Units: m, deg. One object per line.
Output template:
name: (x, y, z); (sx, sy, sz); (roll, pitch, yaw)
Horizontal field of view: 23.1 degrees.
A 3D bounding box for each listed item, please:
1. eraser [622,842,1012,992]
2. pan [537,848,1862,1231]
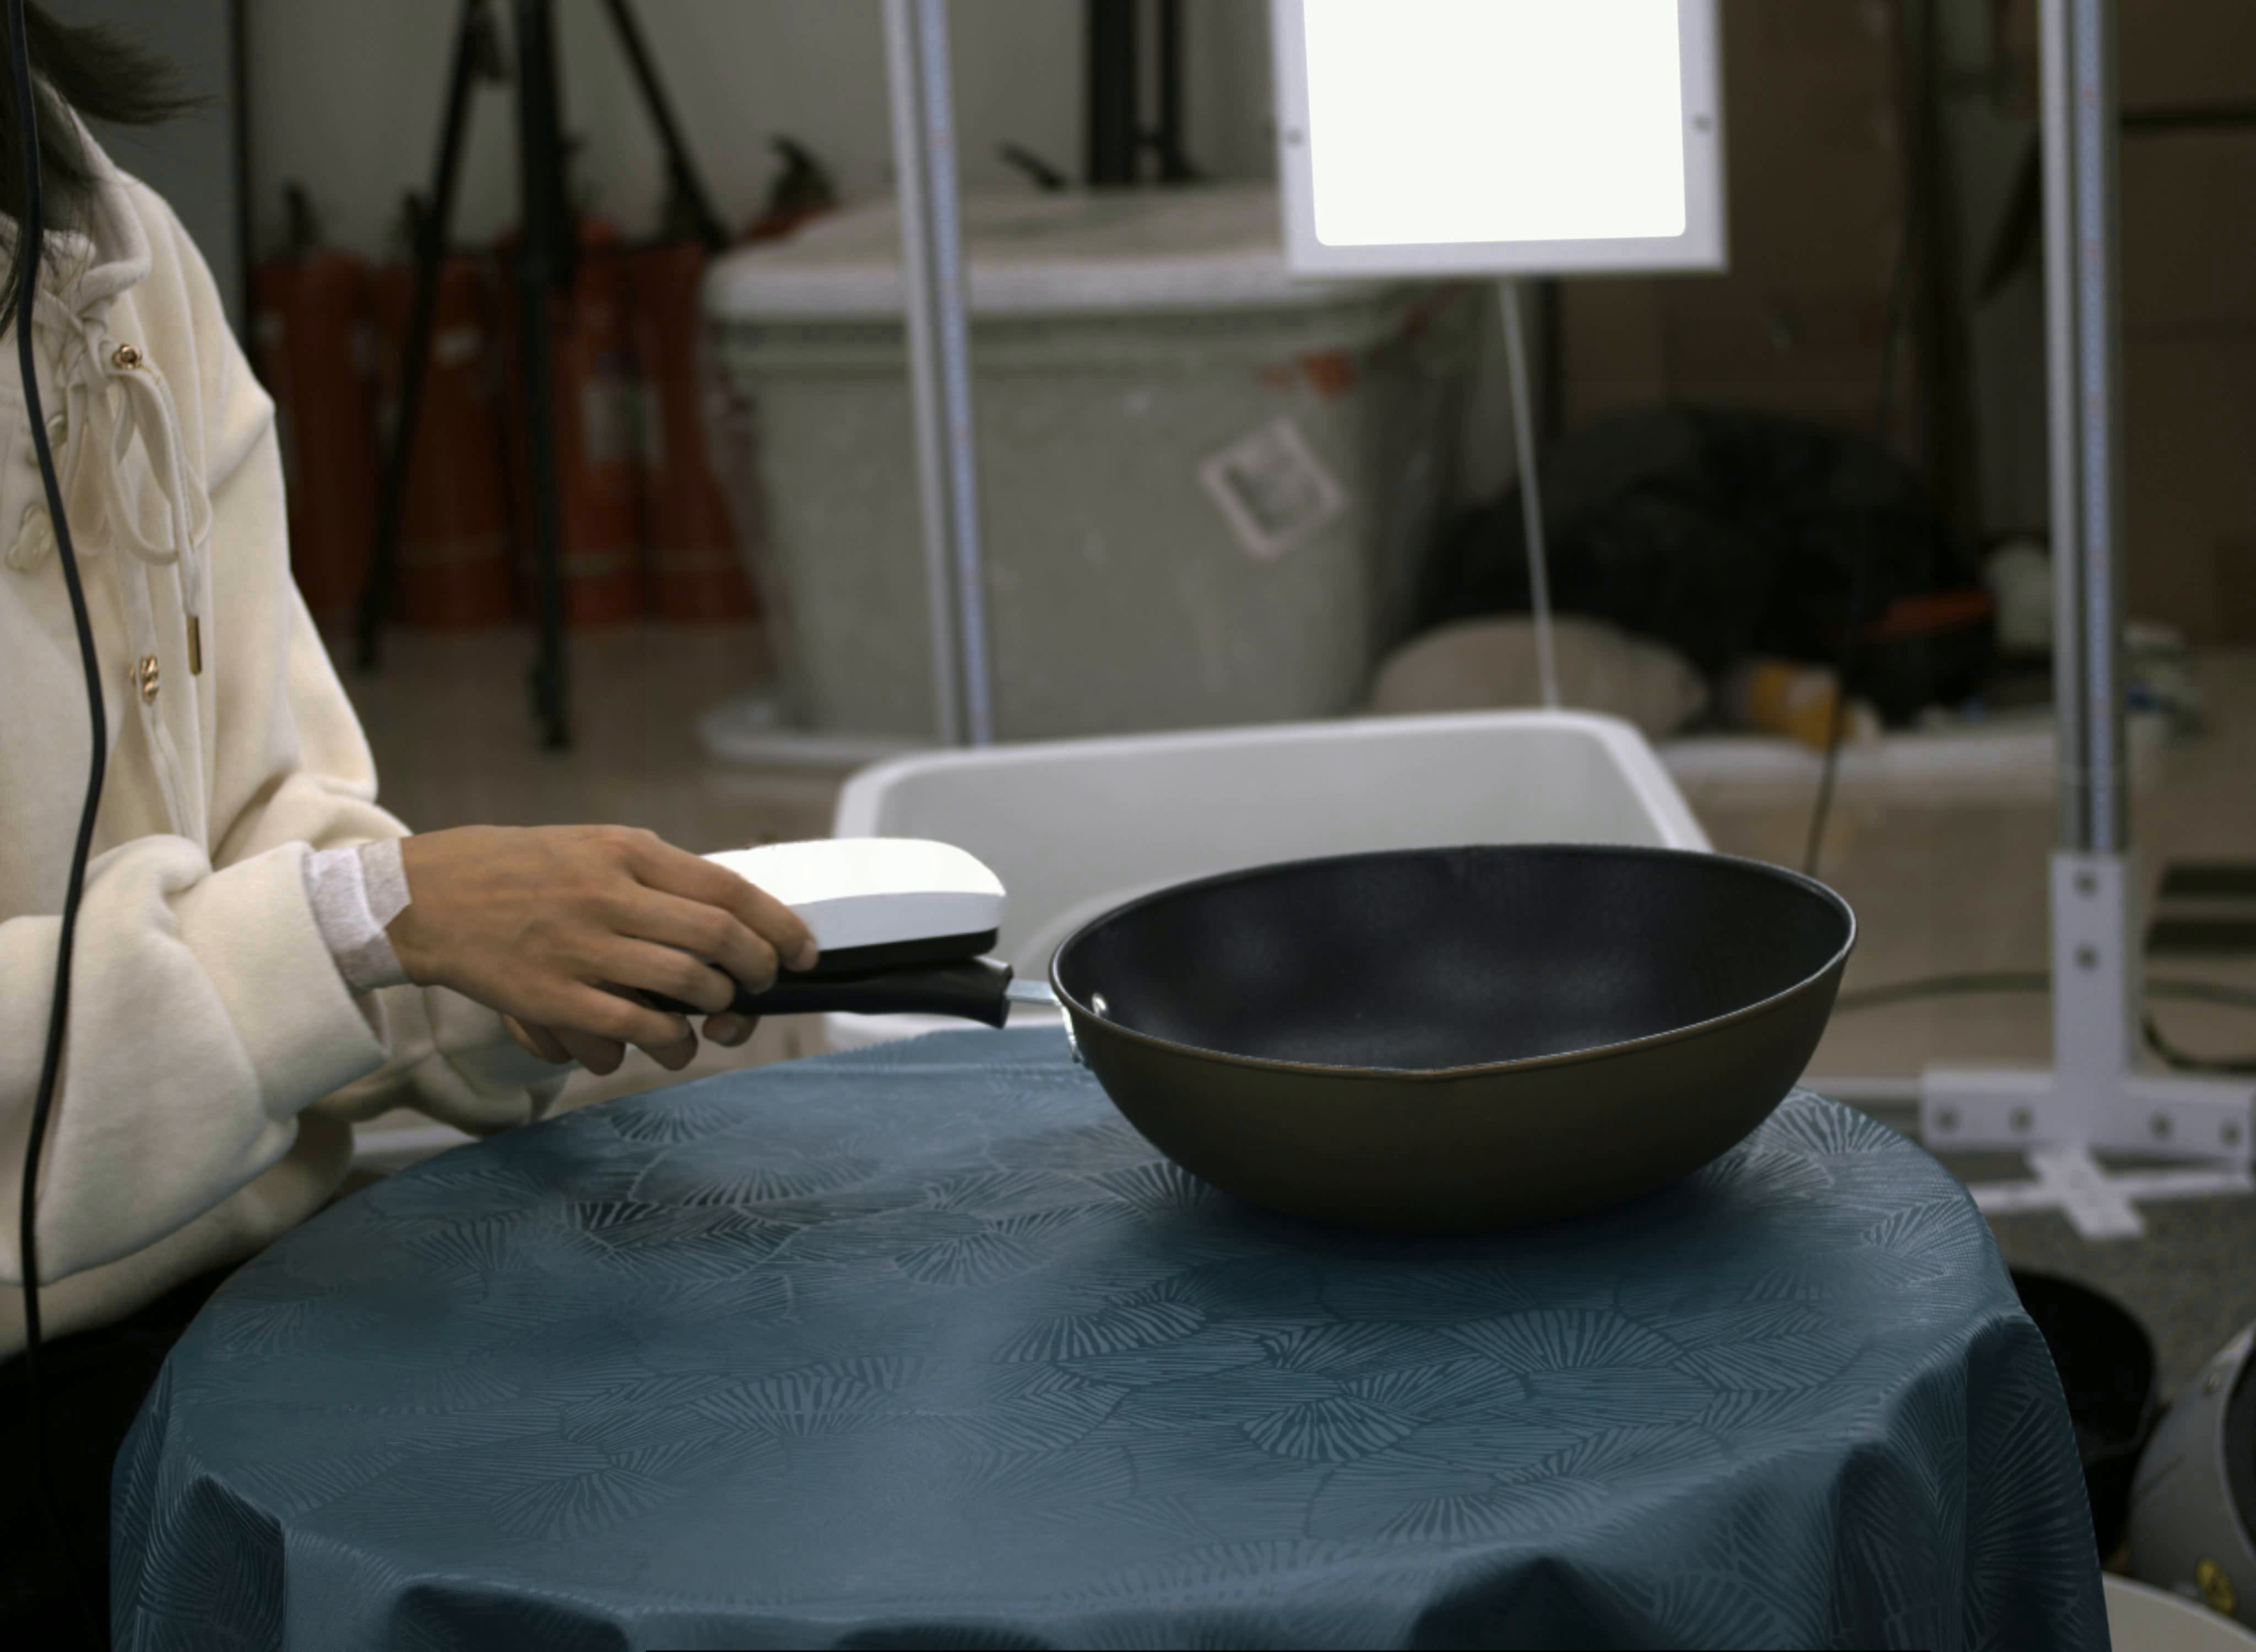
eraser: (-0.107, 0.029, 1.899); (0.129, 0.035, 0.064); (-6, 17, -21)
pan: (0.023, 0.081, 1.899); (0.466, 0.087, 0.285); (-3, 13, 10)
